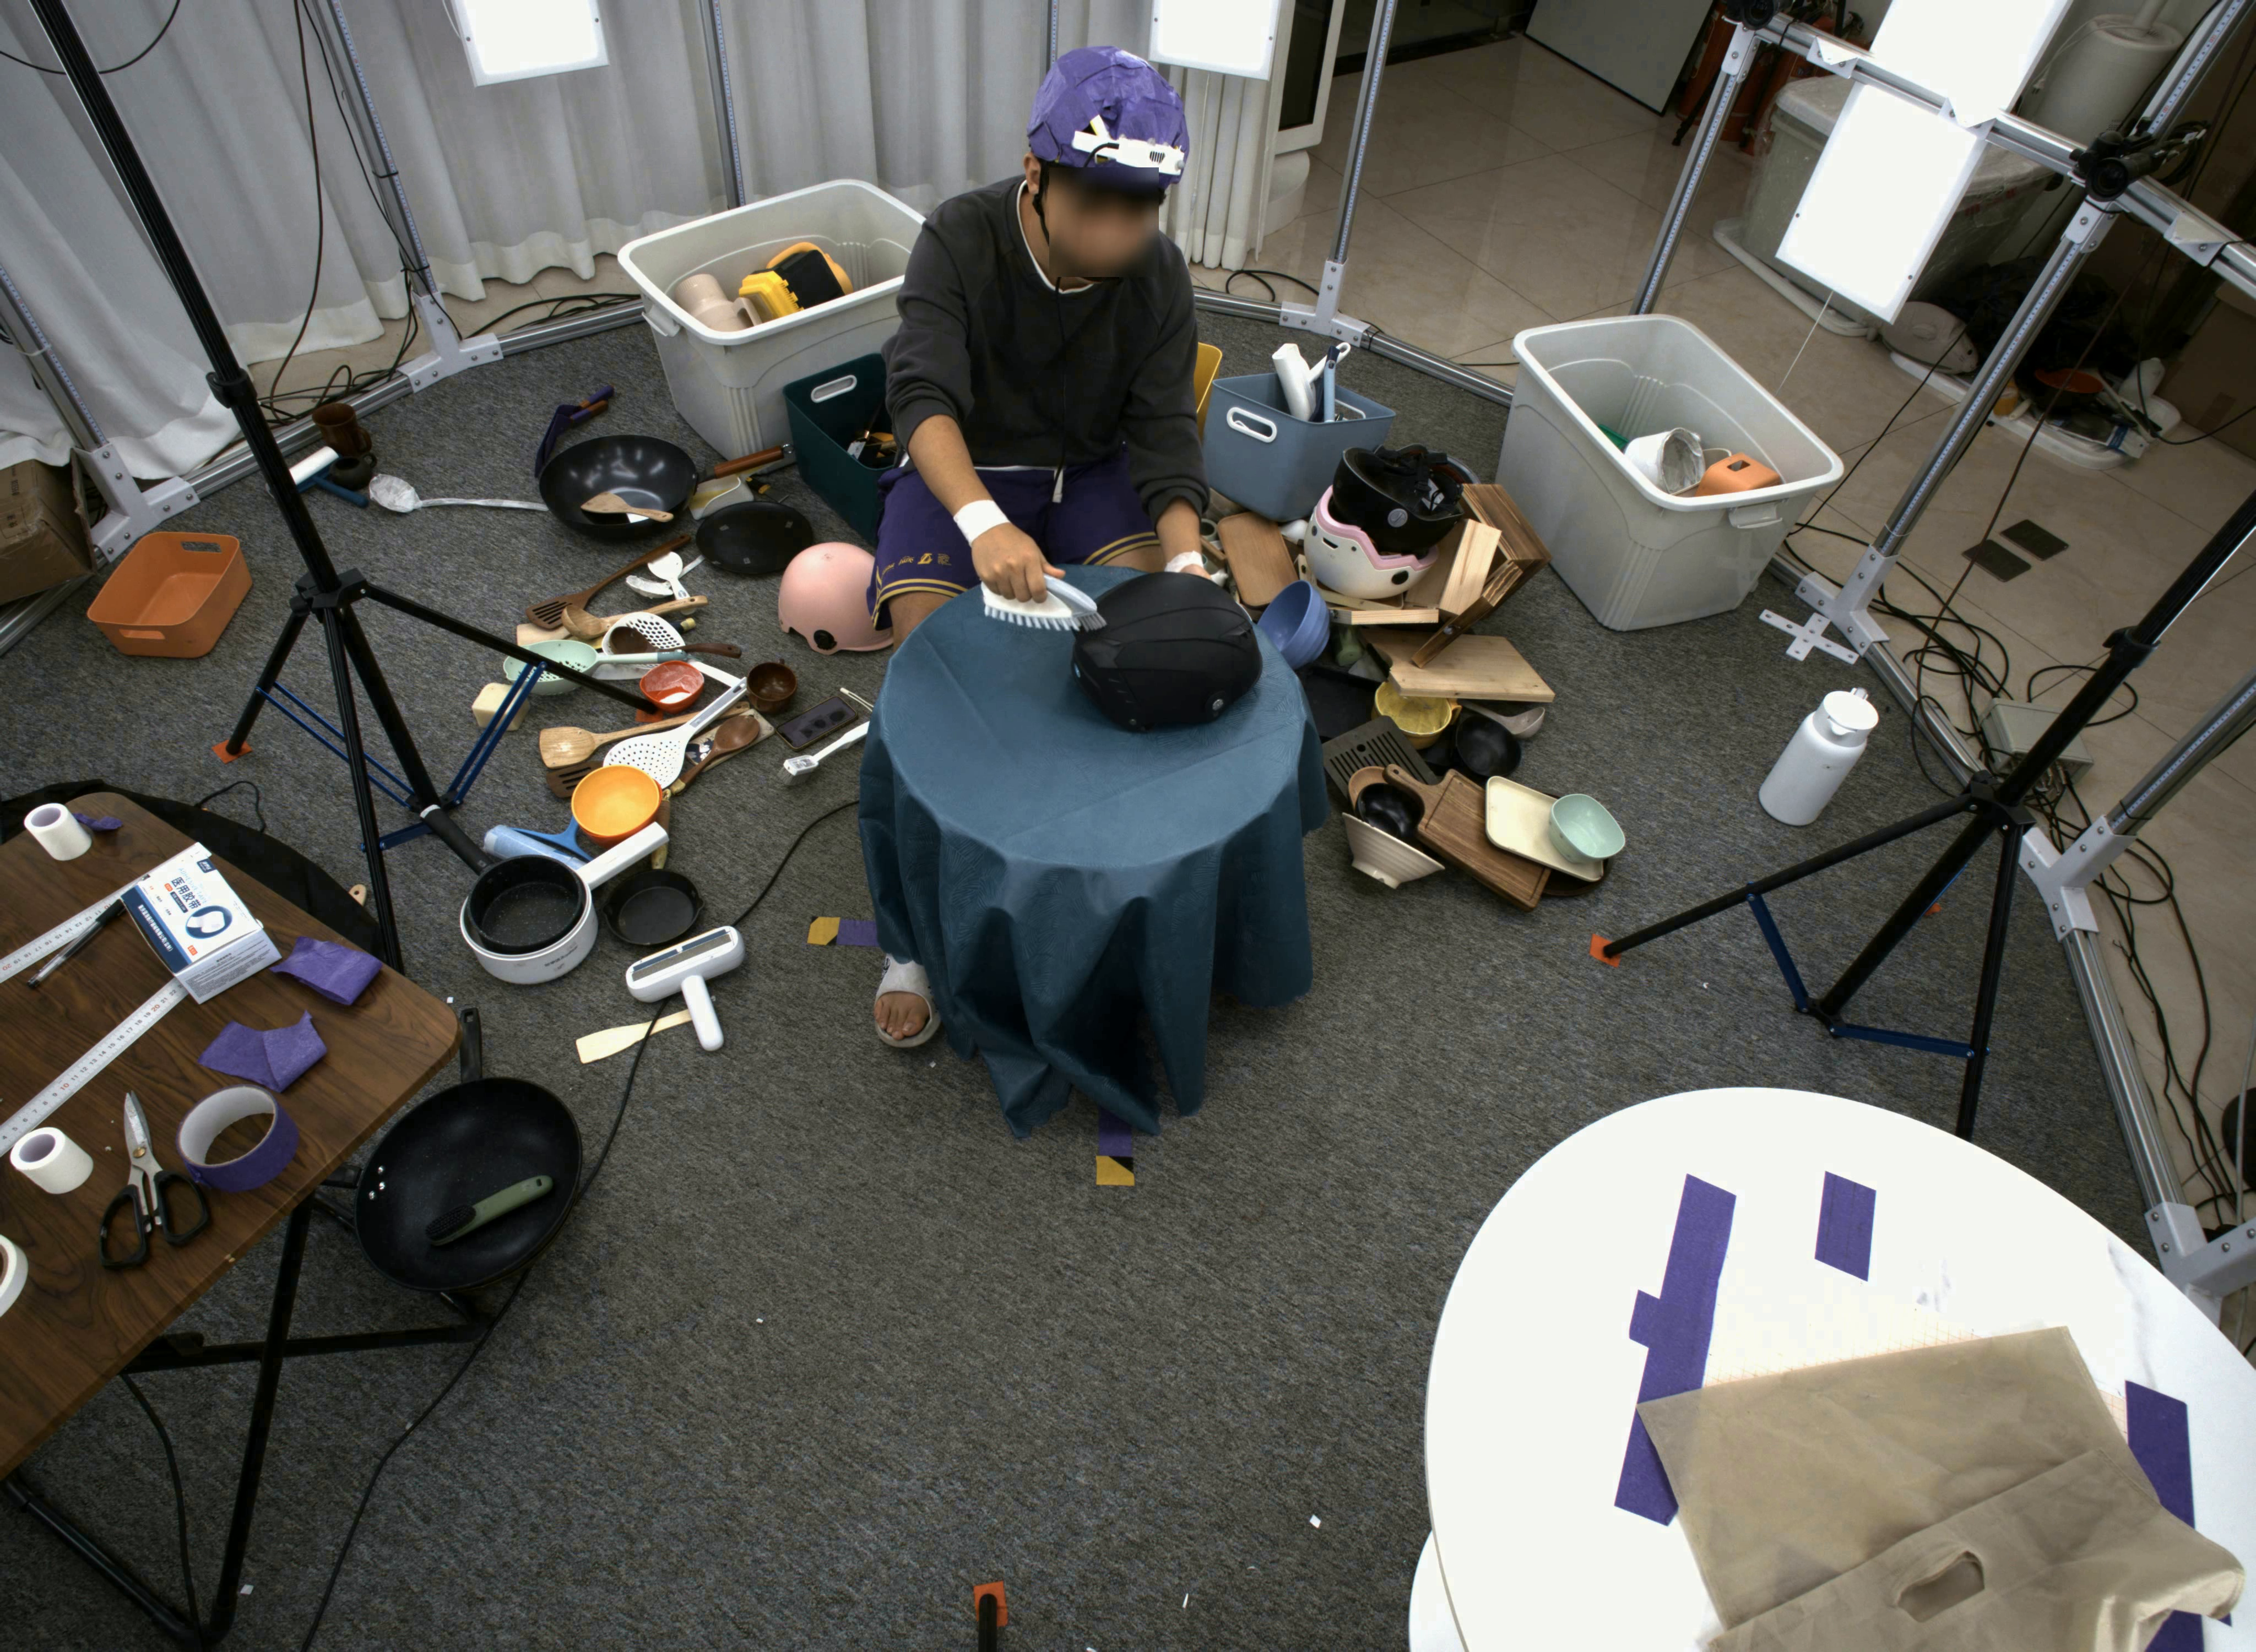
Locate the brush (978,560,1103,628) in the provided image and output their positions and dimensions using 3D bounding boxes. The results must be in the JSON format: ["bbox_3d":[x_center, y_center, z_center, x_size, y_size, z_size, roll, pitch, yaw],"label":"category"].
[{"bbox_3d":[-0.120,-0.313,1.718,0.177,0.092,0.062,18,70,19],"label":"brush"}]

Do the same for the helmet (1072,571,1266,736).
[{"bbox_3d":[0.055,-0.262,1.796,0.277,0.168,0.252,-16,53,-12],"label":"helmet"}]
